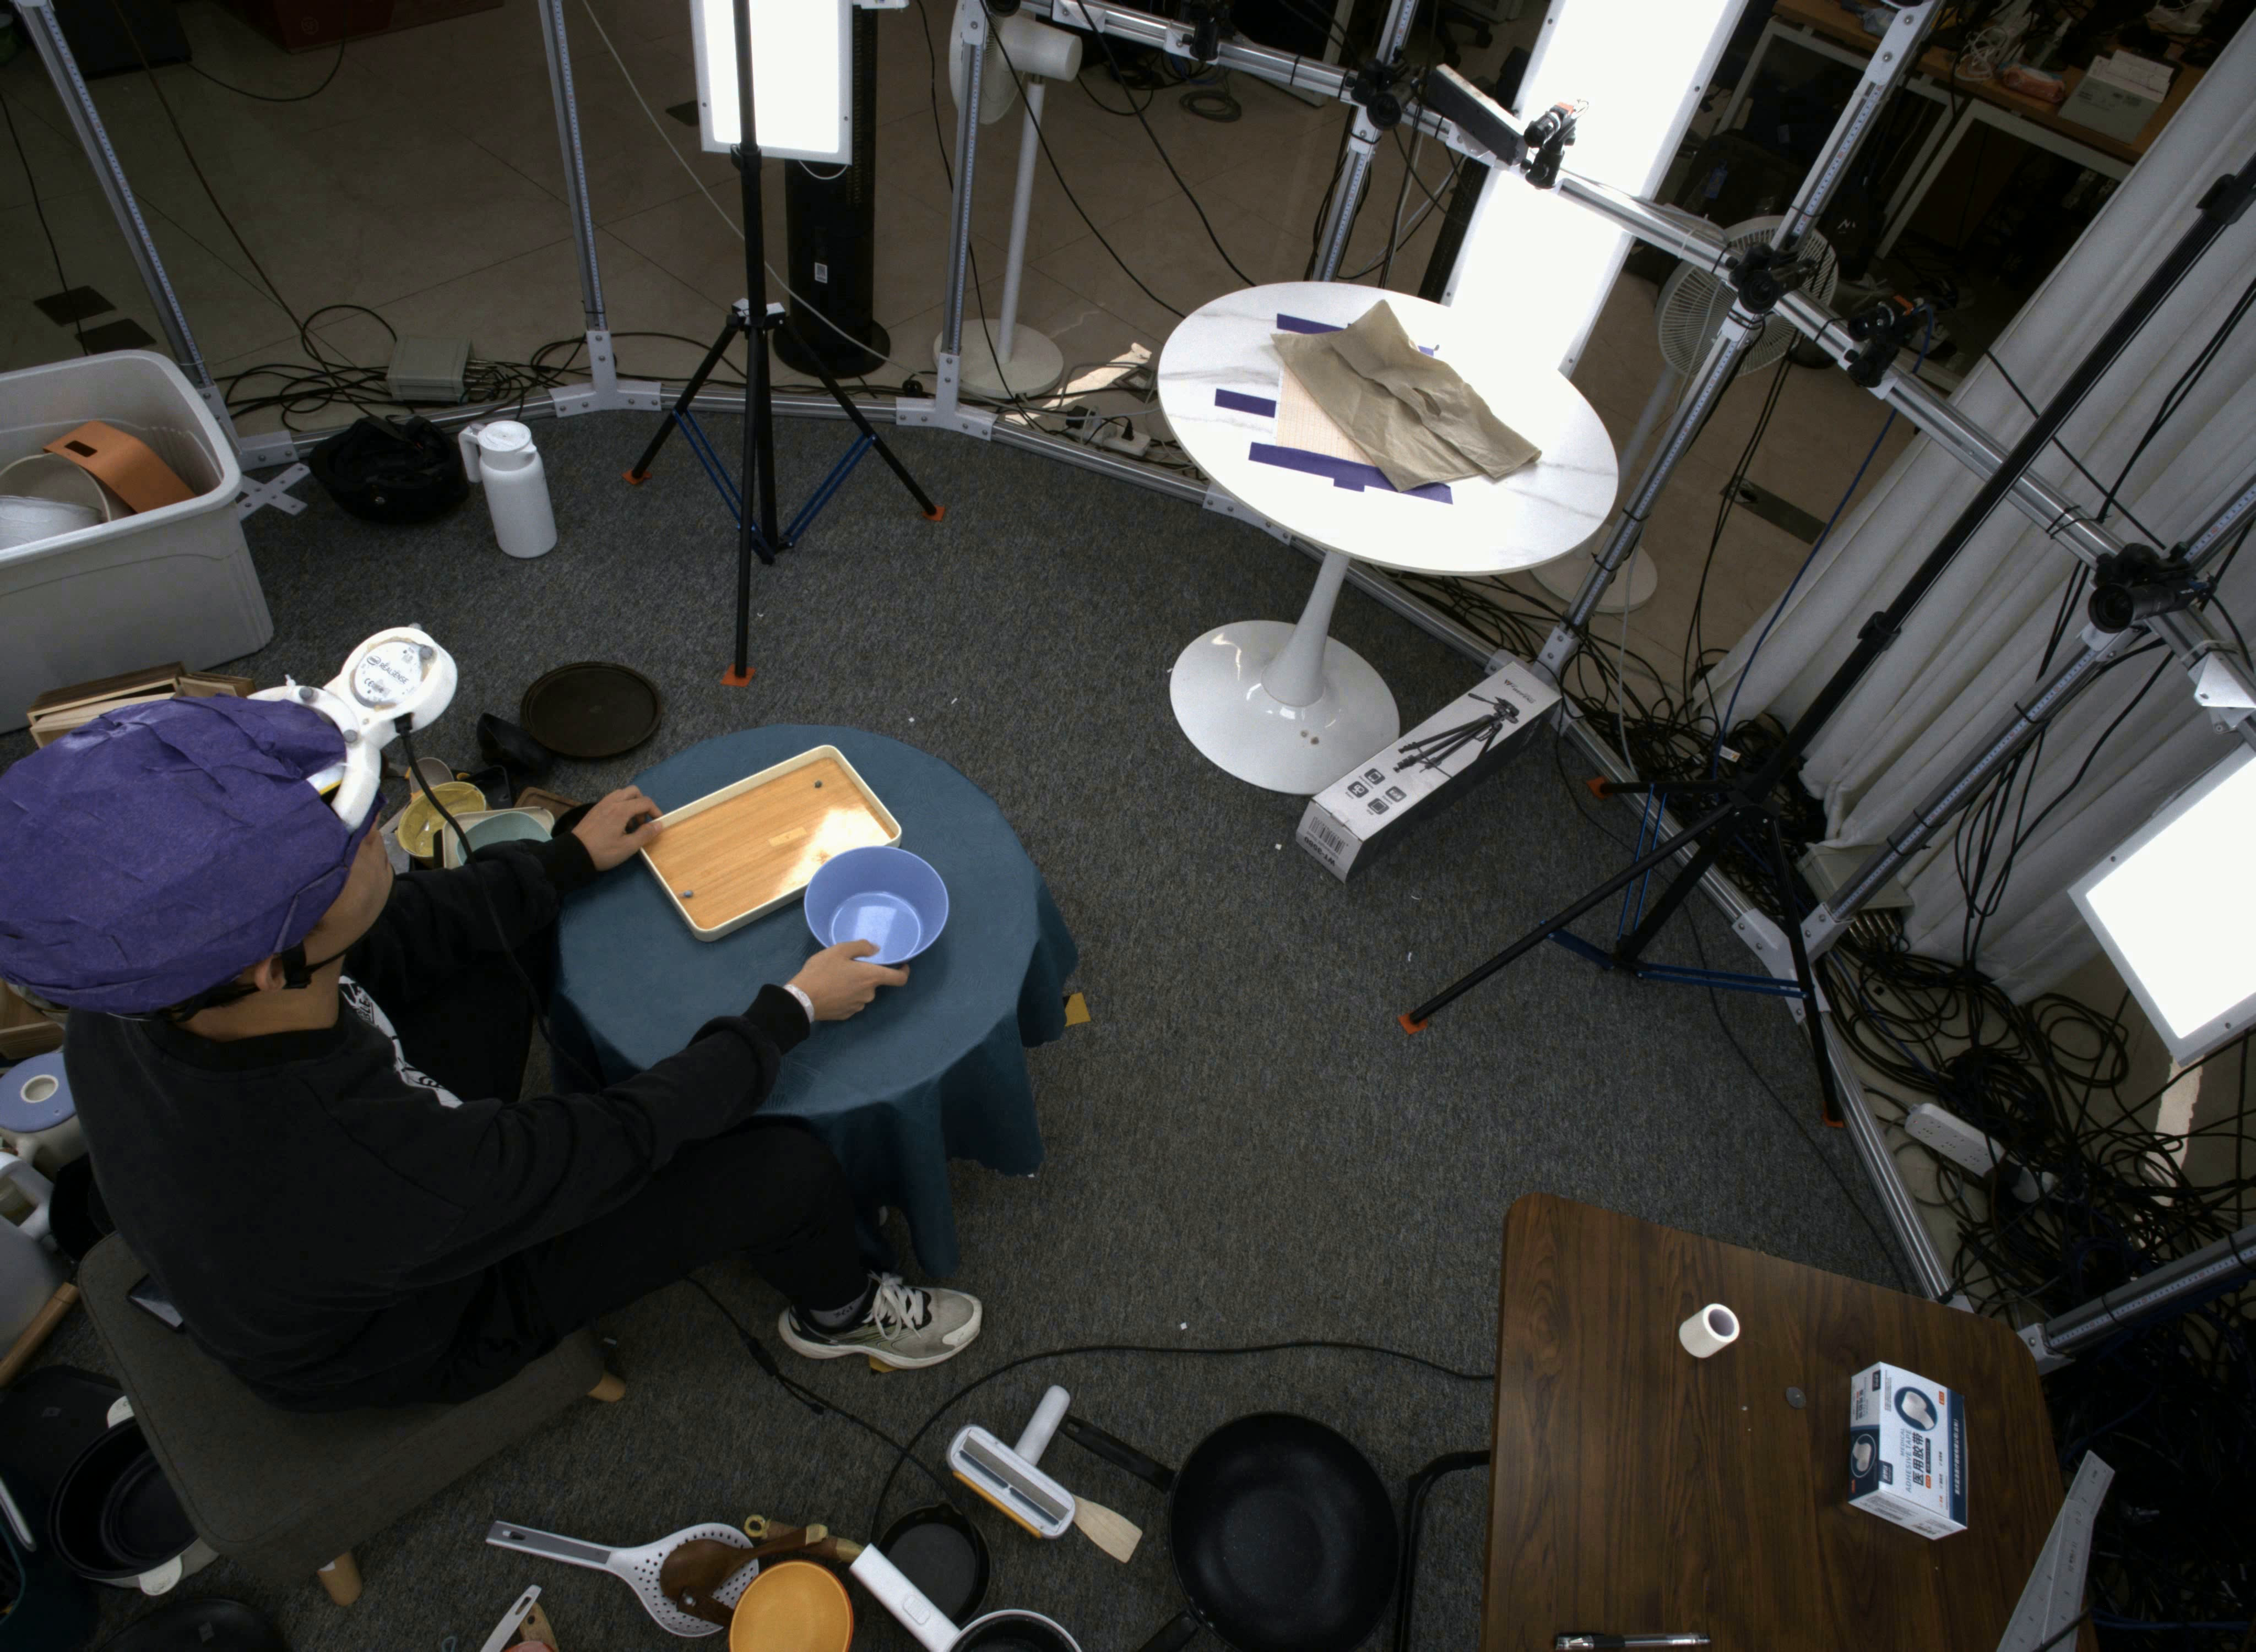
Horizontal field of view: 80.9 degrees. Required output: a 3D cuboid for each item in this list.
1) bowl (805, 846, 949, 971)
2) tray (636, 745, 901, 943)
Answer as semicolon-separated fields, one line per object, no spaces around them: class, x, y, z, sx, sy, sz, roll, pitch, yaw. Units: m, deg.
bowl;-0.313;0.112;1.628;0.175;0.072;0.173;7;52;-7
tray;-0.467;0.016;1.690;0.301;0.028;0.187;-29;66;-31
